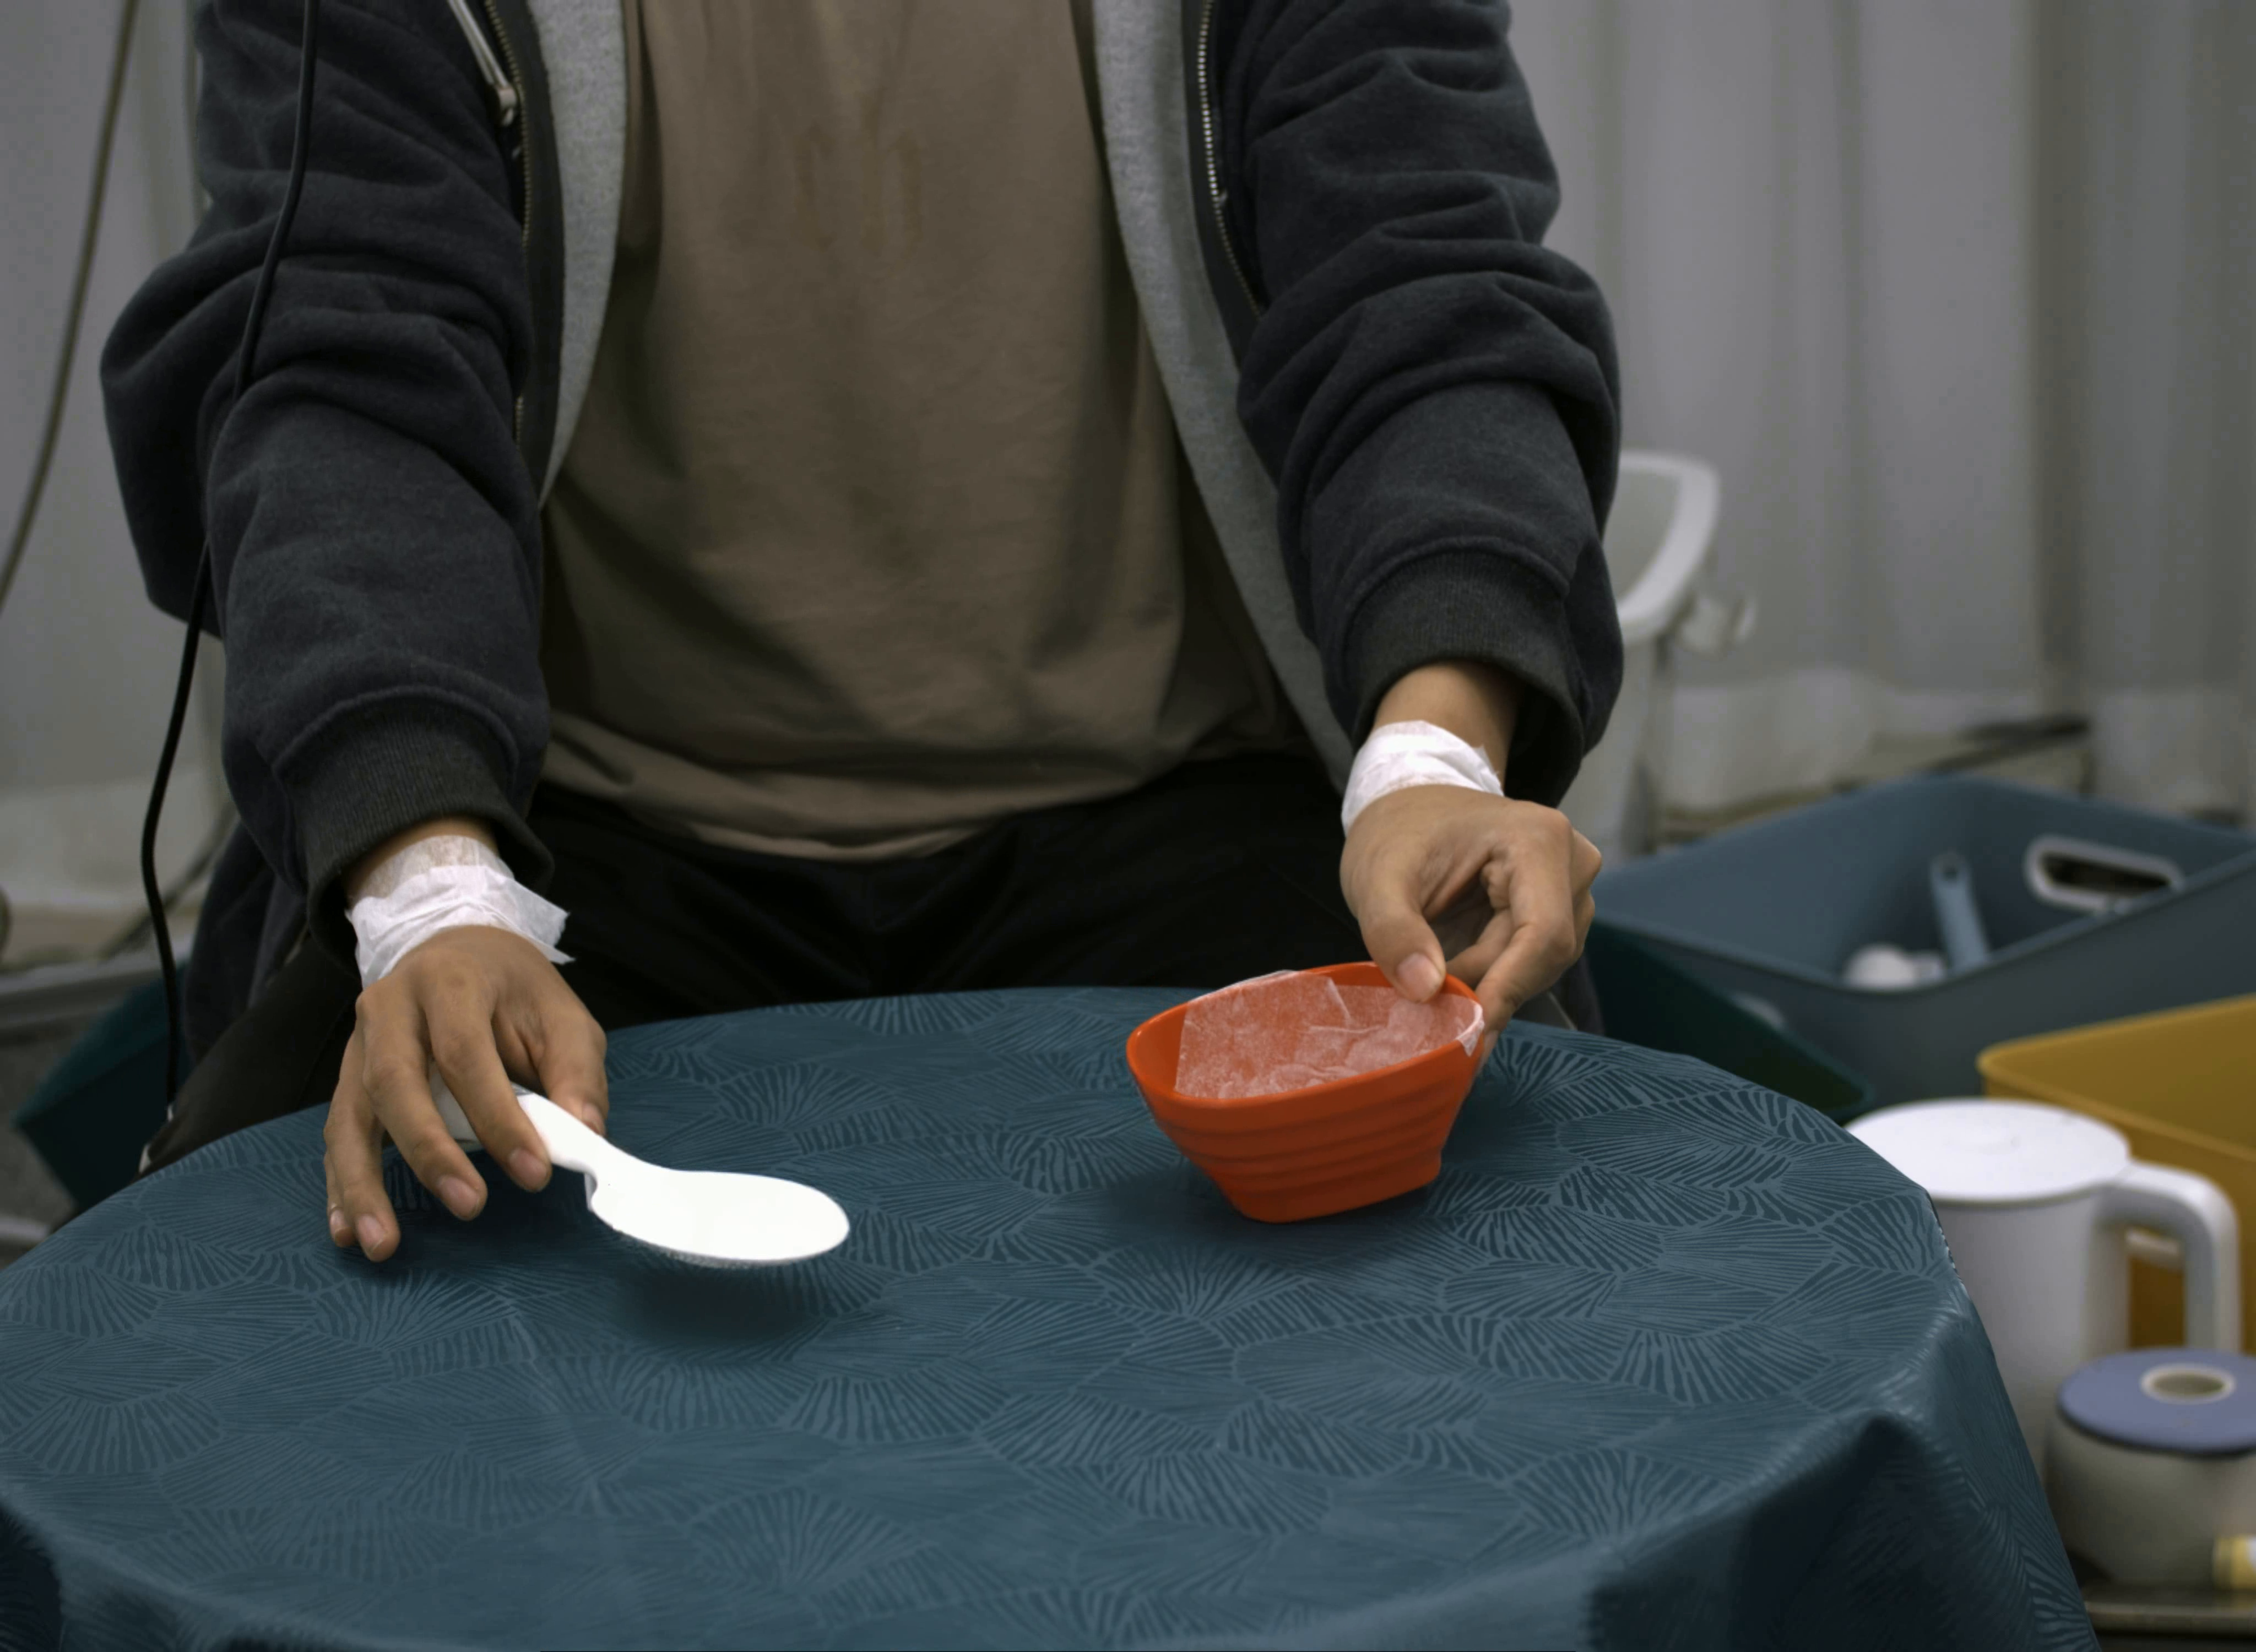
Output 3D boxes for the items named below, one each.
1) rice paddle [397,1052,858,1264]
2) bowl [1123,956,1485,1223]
[{"bbox_3d":[-0.156,0.103,1.672,0.068,0.029,0.206,-12,17,-38],"label":"rice paddle"},{"bbox_3d":[0.058,0.084,1.700,0.118,0.051,0.120,-10,18,3],"label":"bowl"}]
